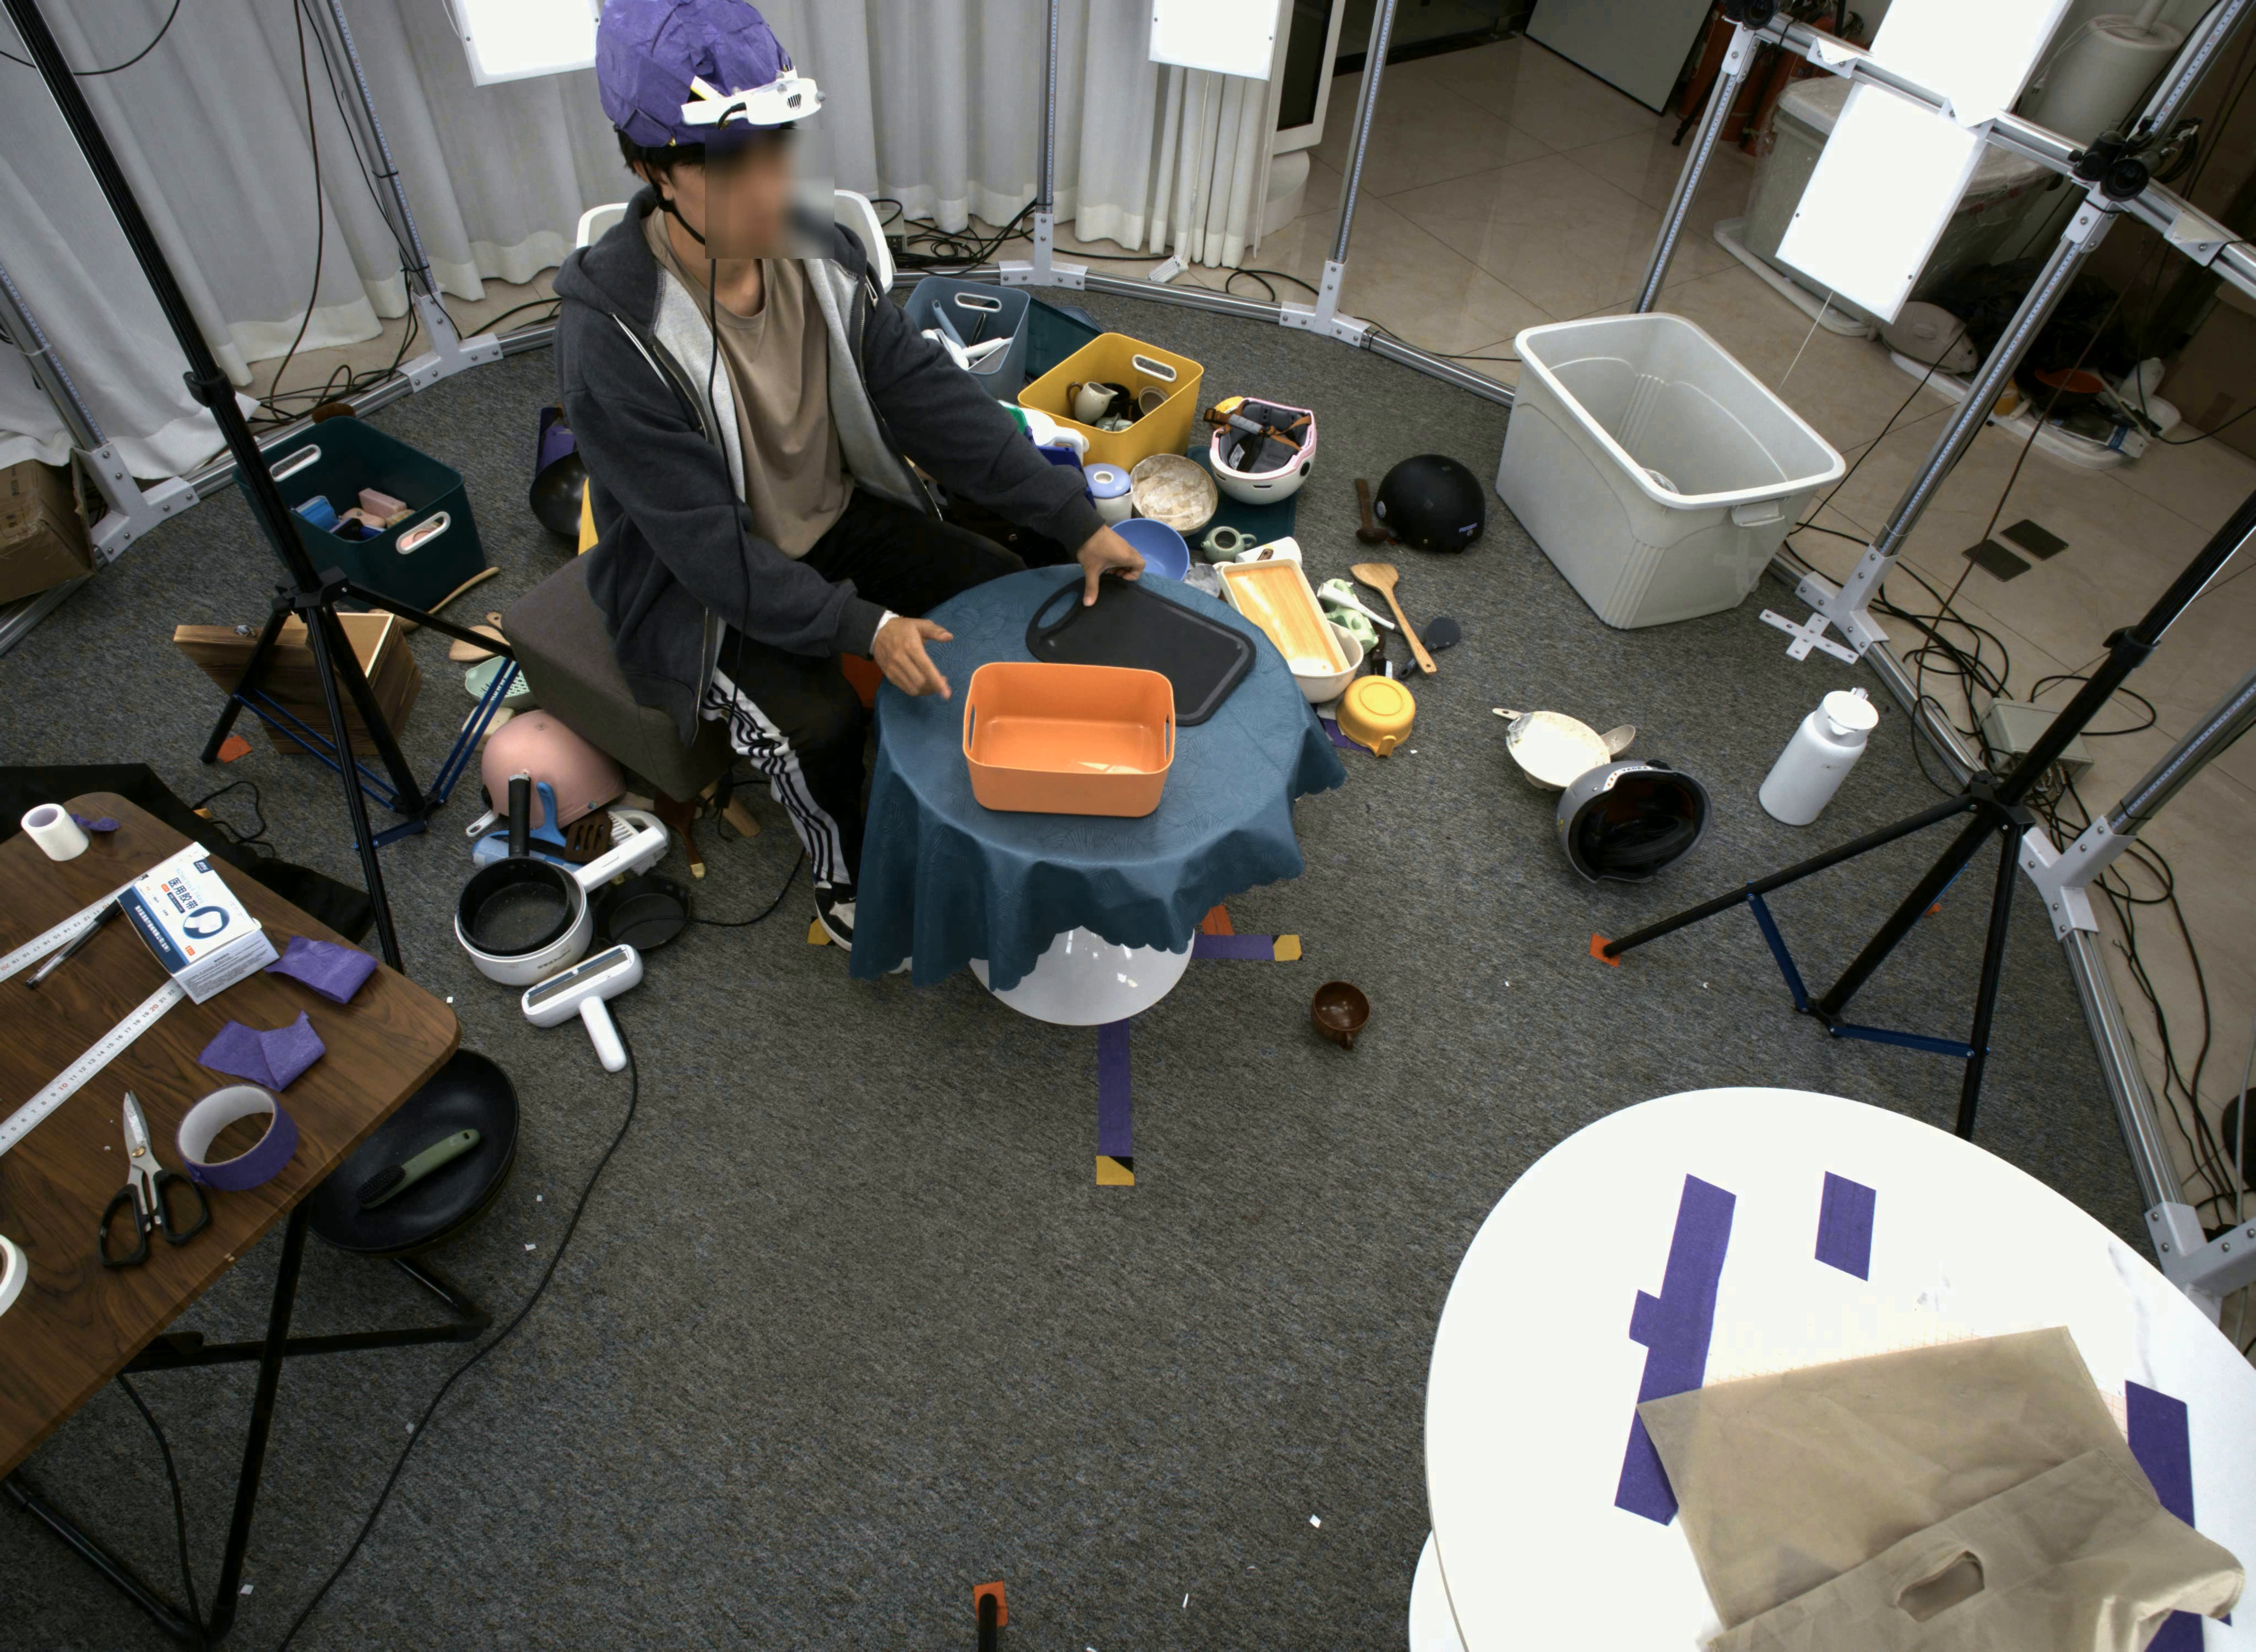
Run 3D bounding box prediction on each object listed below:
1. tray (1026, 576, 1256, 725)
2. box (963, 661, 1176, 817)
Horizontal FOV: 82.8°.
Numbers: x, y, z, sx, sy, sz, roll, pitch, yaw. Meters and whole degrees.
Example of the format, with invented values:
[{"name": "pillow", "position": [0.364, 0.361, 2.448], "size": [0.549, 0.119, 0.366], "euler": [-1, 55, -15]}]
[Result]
[{"name": "tray", "position": [0.012, -0.267, 1.890], "size": [0.328, 0.009, 0.214], "euler": [27, 55, 19]}, {"name": "box", "position": [-0.077, -0.112, 1.690], "size": [0.273, 0.100, 0.204], "euler": [3, 49, -2]}]
